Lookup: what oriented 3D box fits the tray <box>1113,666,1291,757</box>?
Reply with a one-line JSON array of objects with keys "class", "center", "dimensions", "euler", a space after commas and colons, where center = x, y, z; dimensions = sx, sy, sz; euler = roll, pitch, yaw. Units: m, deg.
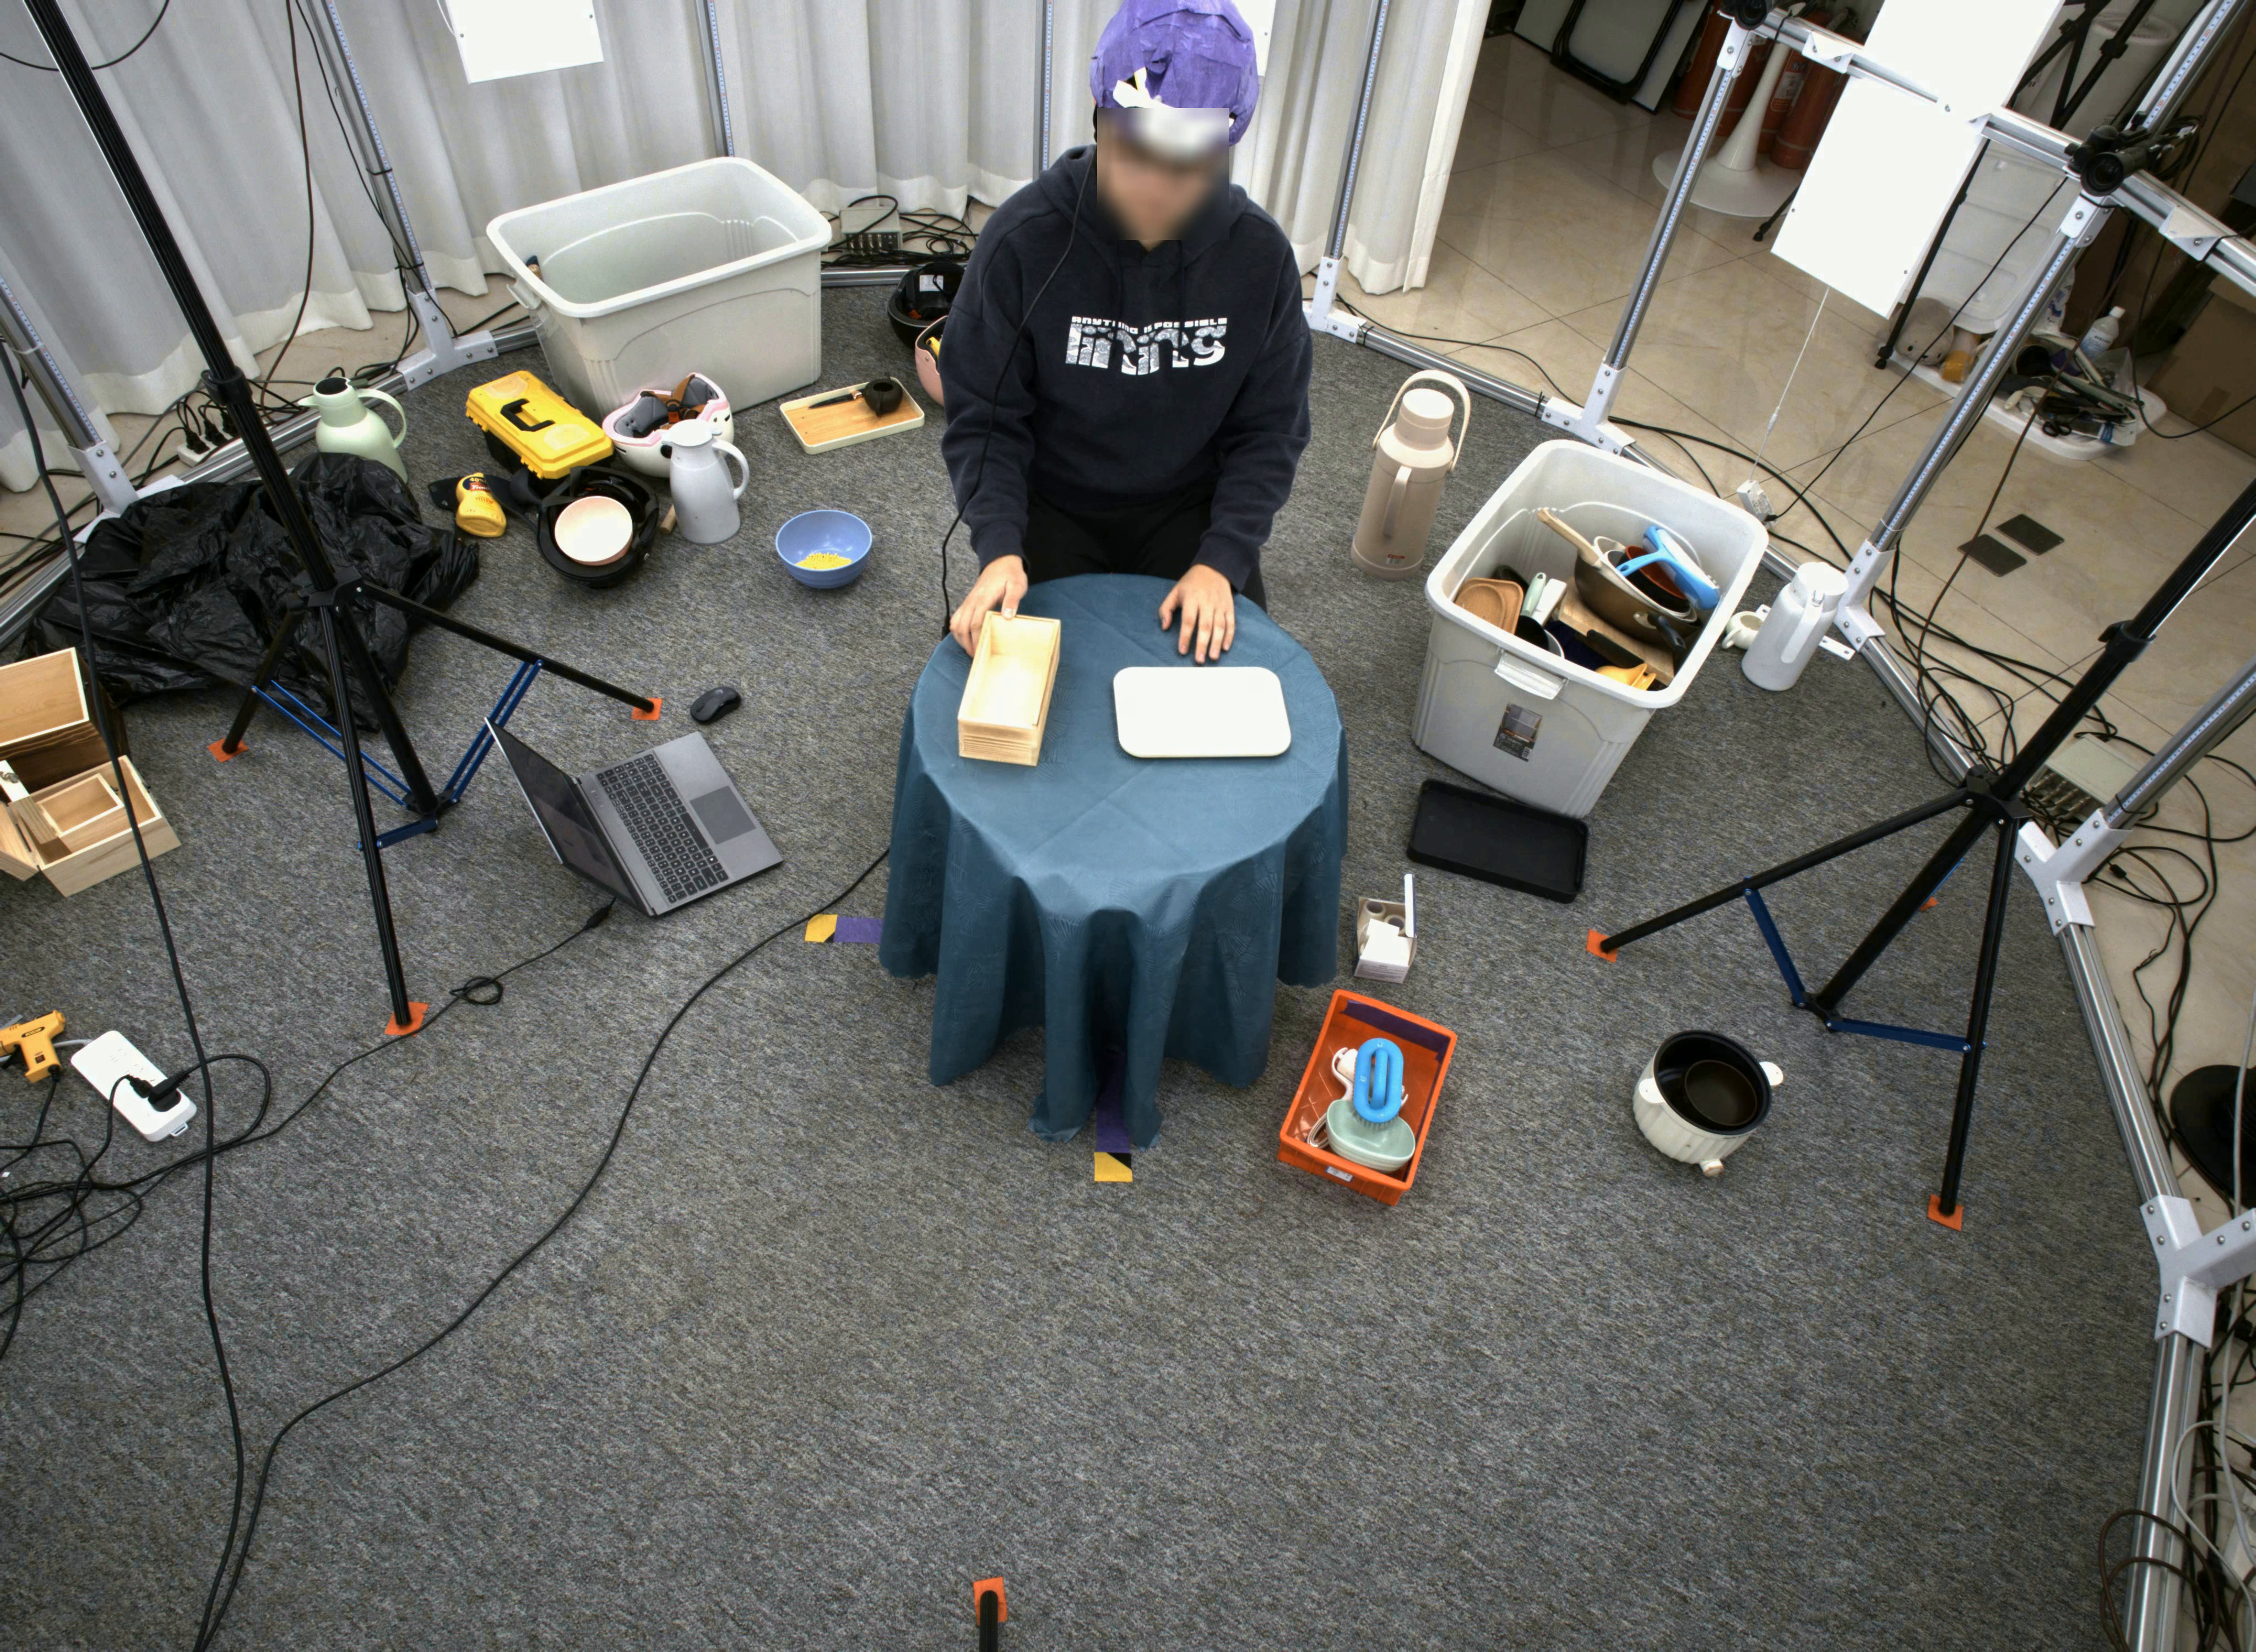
[{"class": "tray", "center": [0.102, -0.161, 1.801], "dimensions": [0.239, 0.017, 0.175], "euler": [-1, 48, -5]}]

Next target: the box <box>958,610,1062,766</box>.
[{"class": "box", "center": [-0.159, -0.193, 1.769], "dimensions": [0.107, 0.078, 0.216], "euler": [7, 49, 1]}]
